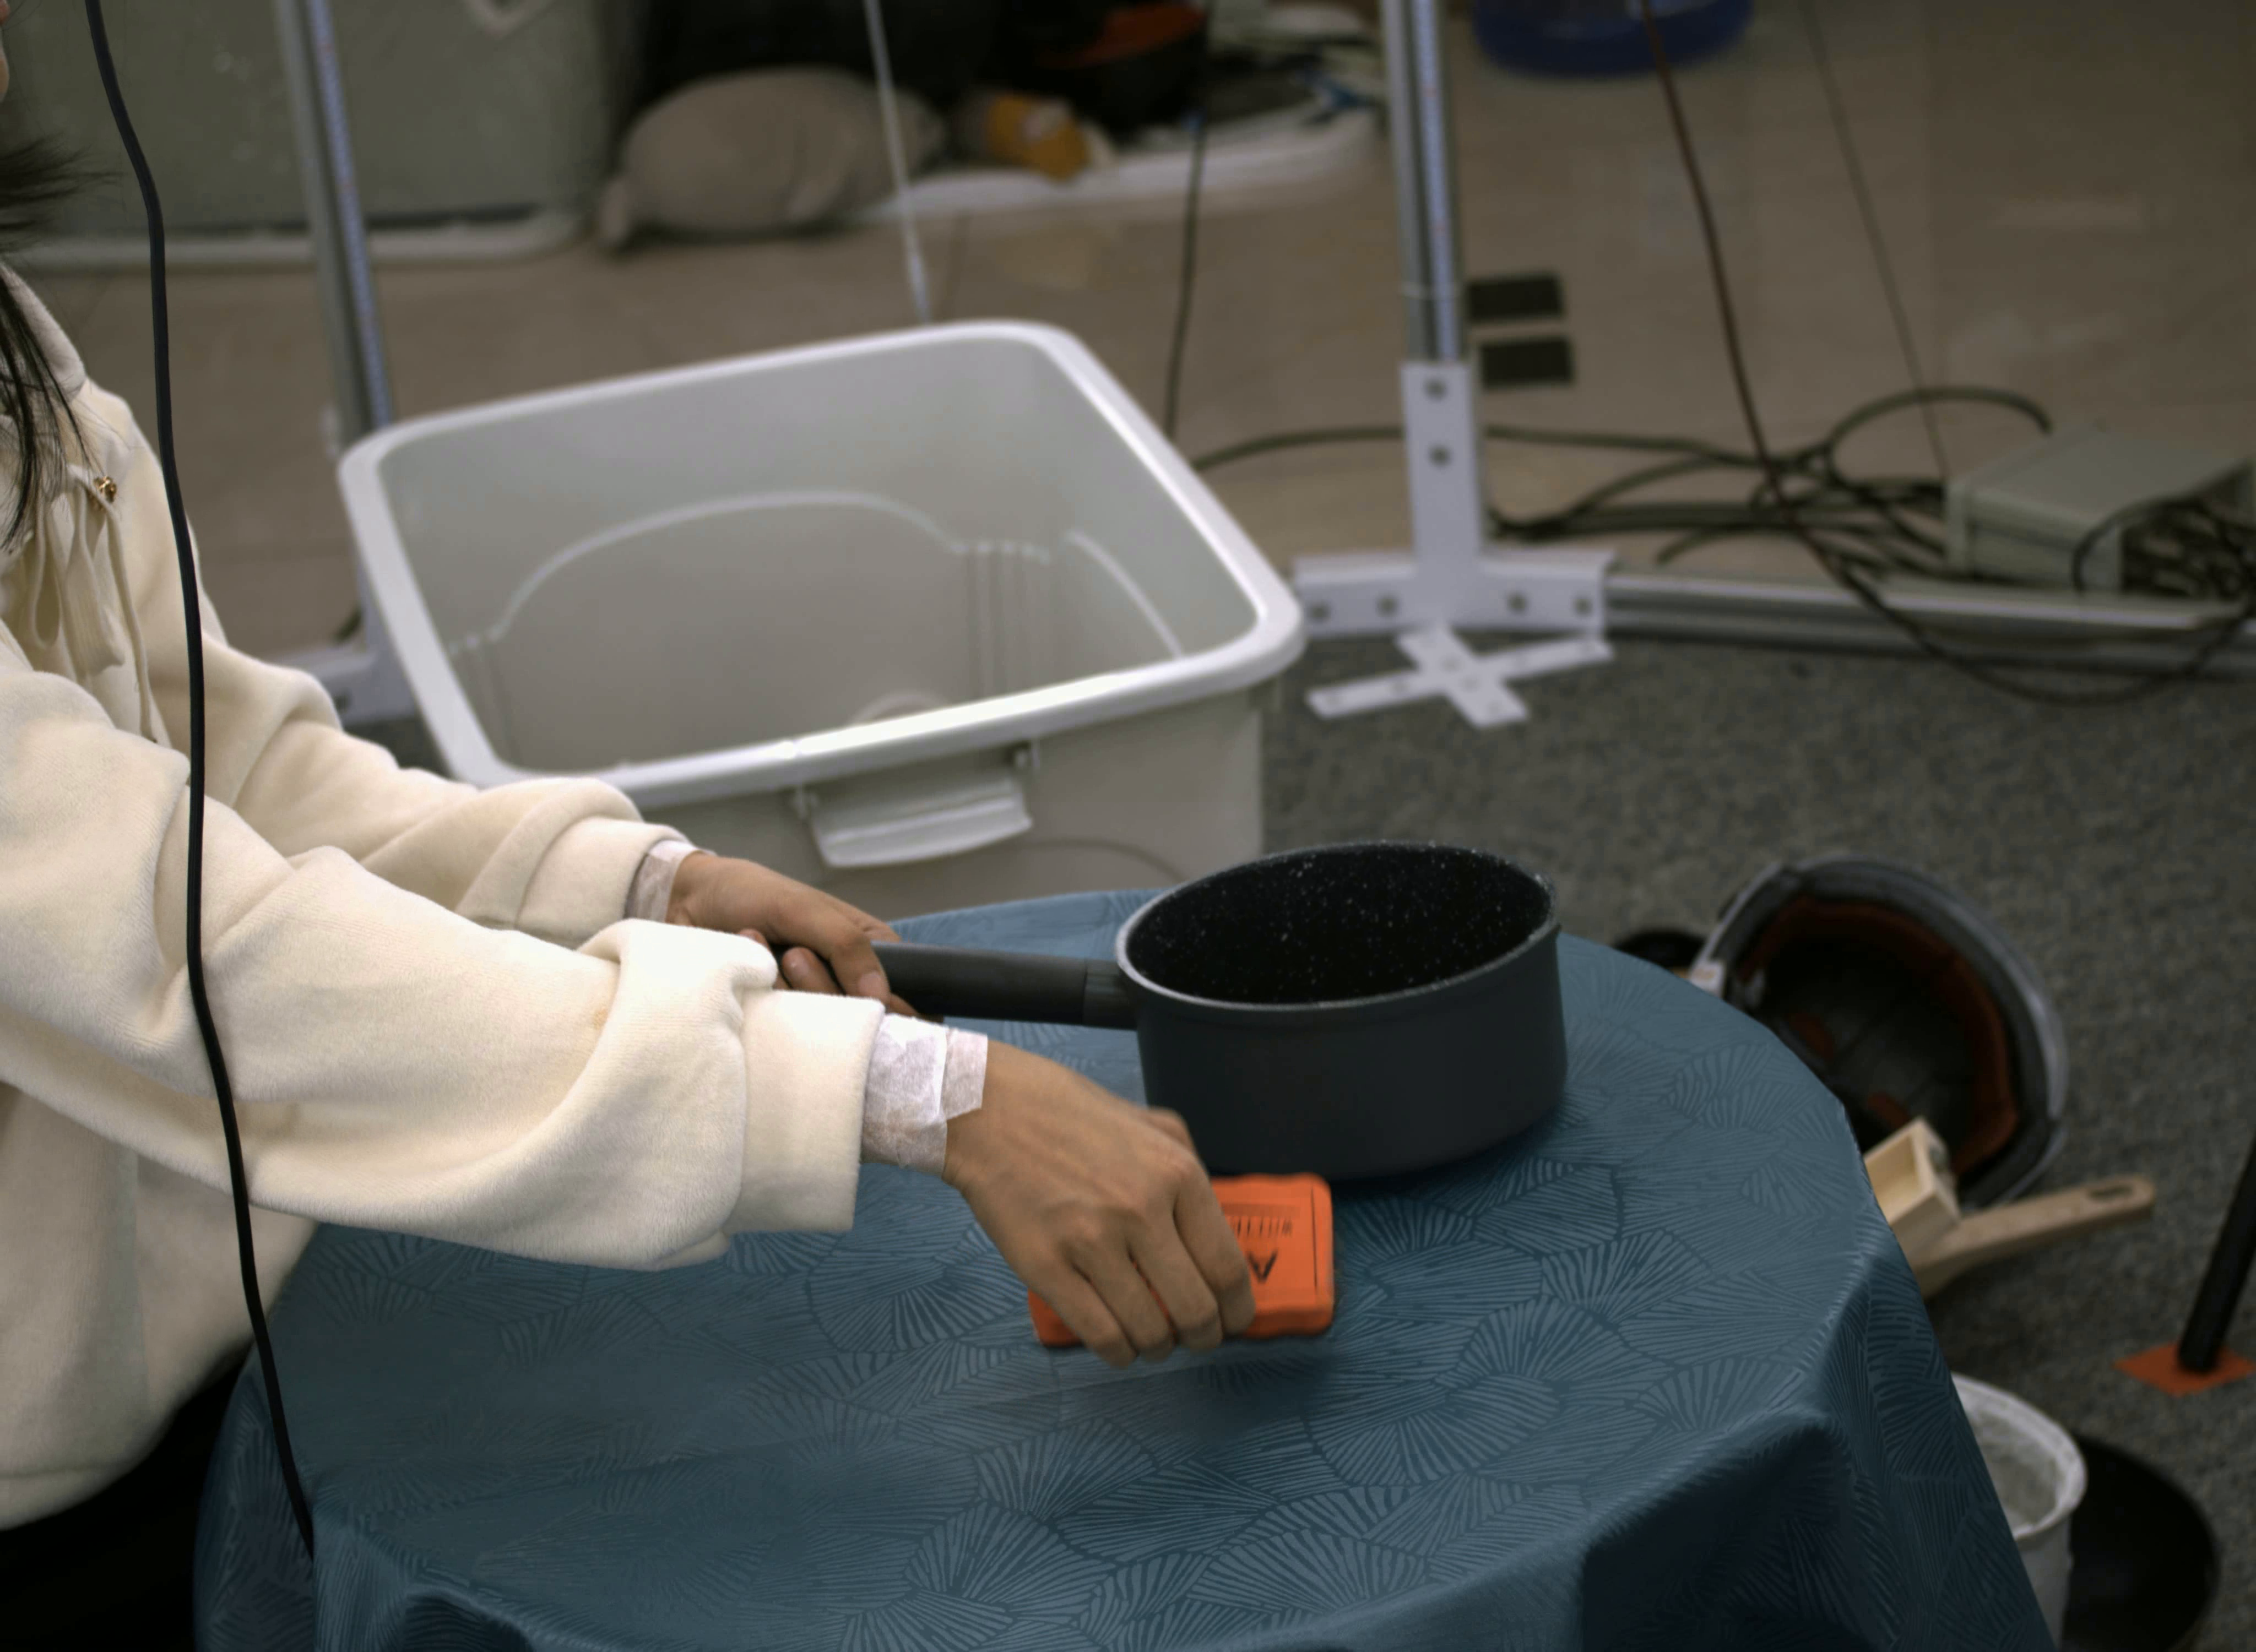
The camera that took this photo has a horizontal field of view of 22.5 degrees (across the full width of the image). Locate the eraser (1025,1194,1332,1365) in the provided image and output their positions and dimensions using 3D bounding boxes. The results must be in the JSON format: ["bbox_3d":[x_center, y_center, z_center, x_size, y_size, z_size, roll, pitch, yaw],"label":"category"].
[{"bbox_3d":[0.018,0.160,2.005,0.108,0.023,0.058,-2,52,3],"label":"eraser"}]

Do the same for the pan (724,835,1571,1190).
[{"bbox_3d":[0.008,0.073,2.183,0.328,0.088,0.170,-2,21,10],"label":"pan"}]
